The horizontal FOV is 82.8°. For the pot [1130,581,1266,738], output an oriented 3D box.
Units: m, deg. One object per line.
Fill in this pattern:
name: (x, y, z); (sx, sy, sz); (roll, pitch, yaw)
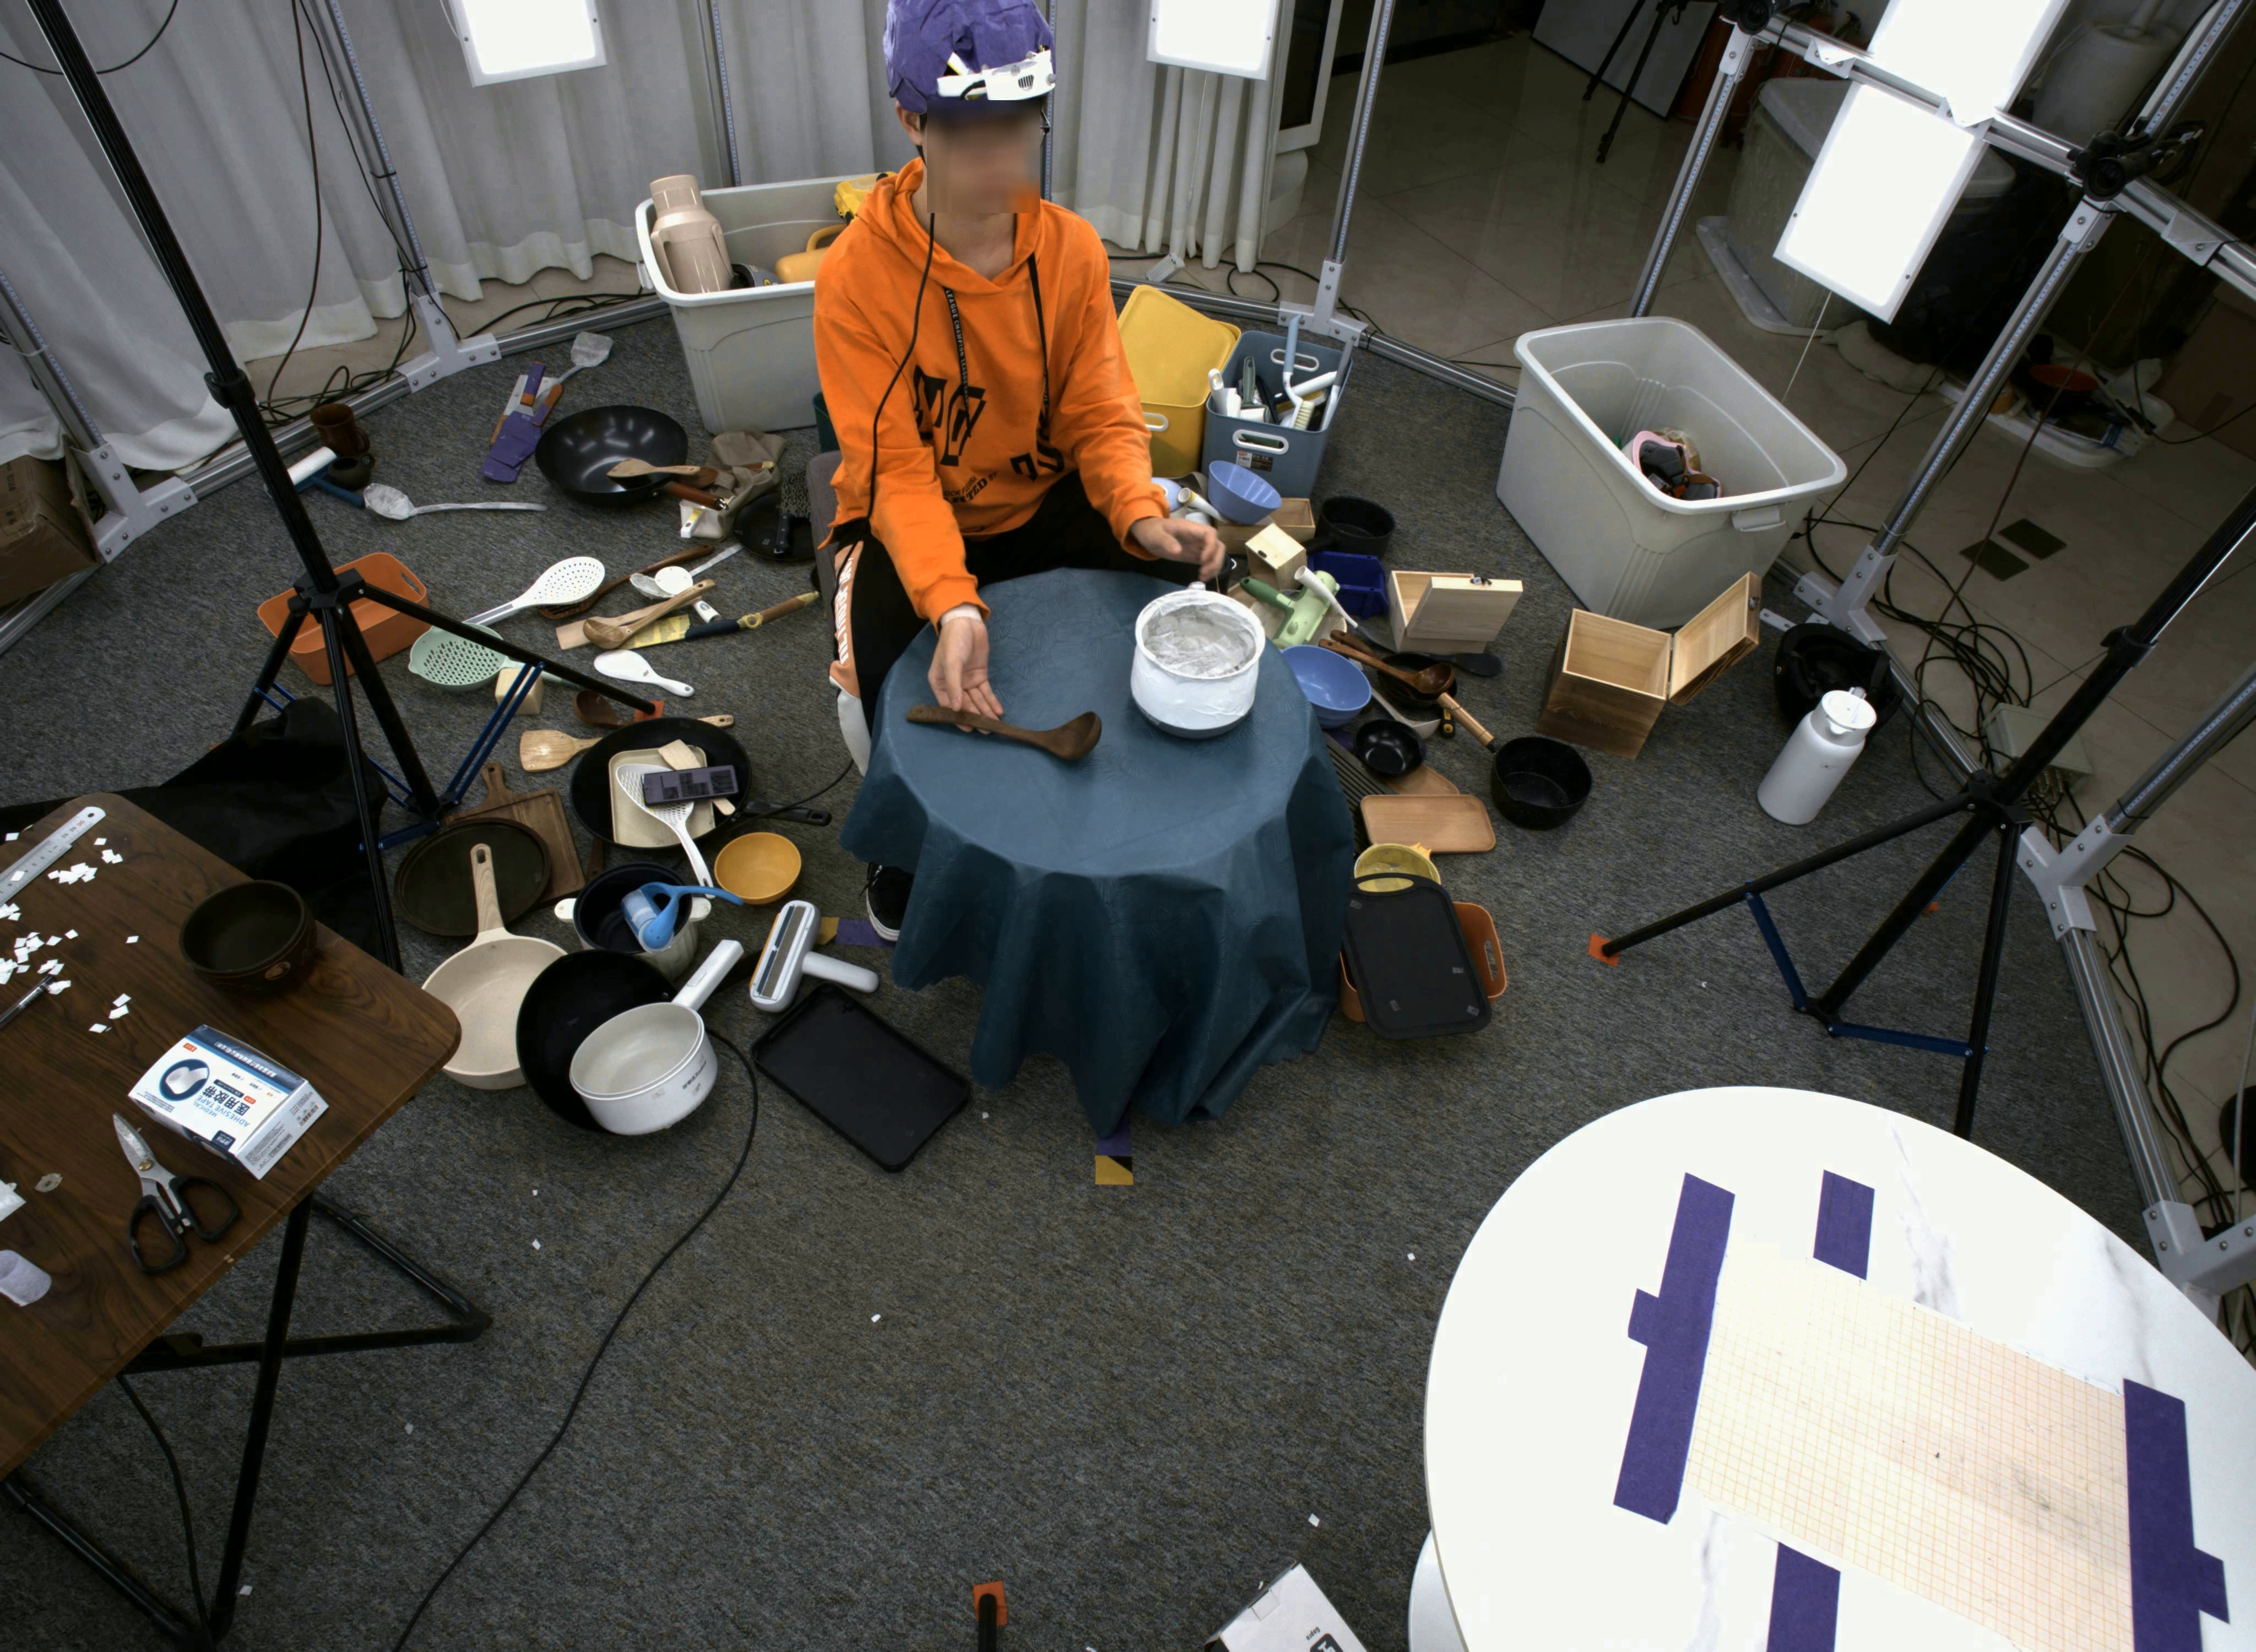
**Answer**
pot: (0.093, -0.242, 1.796); (0.178, 0.133, 0.239); (2, 49, -3)

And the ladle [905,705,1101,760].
ladle: (-0.171, -0.145, 1.738); (0.274, 0.069, 0.078); (13, 49, 7)
